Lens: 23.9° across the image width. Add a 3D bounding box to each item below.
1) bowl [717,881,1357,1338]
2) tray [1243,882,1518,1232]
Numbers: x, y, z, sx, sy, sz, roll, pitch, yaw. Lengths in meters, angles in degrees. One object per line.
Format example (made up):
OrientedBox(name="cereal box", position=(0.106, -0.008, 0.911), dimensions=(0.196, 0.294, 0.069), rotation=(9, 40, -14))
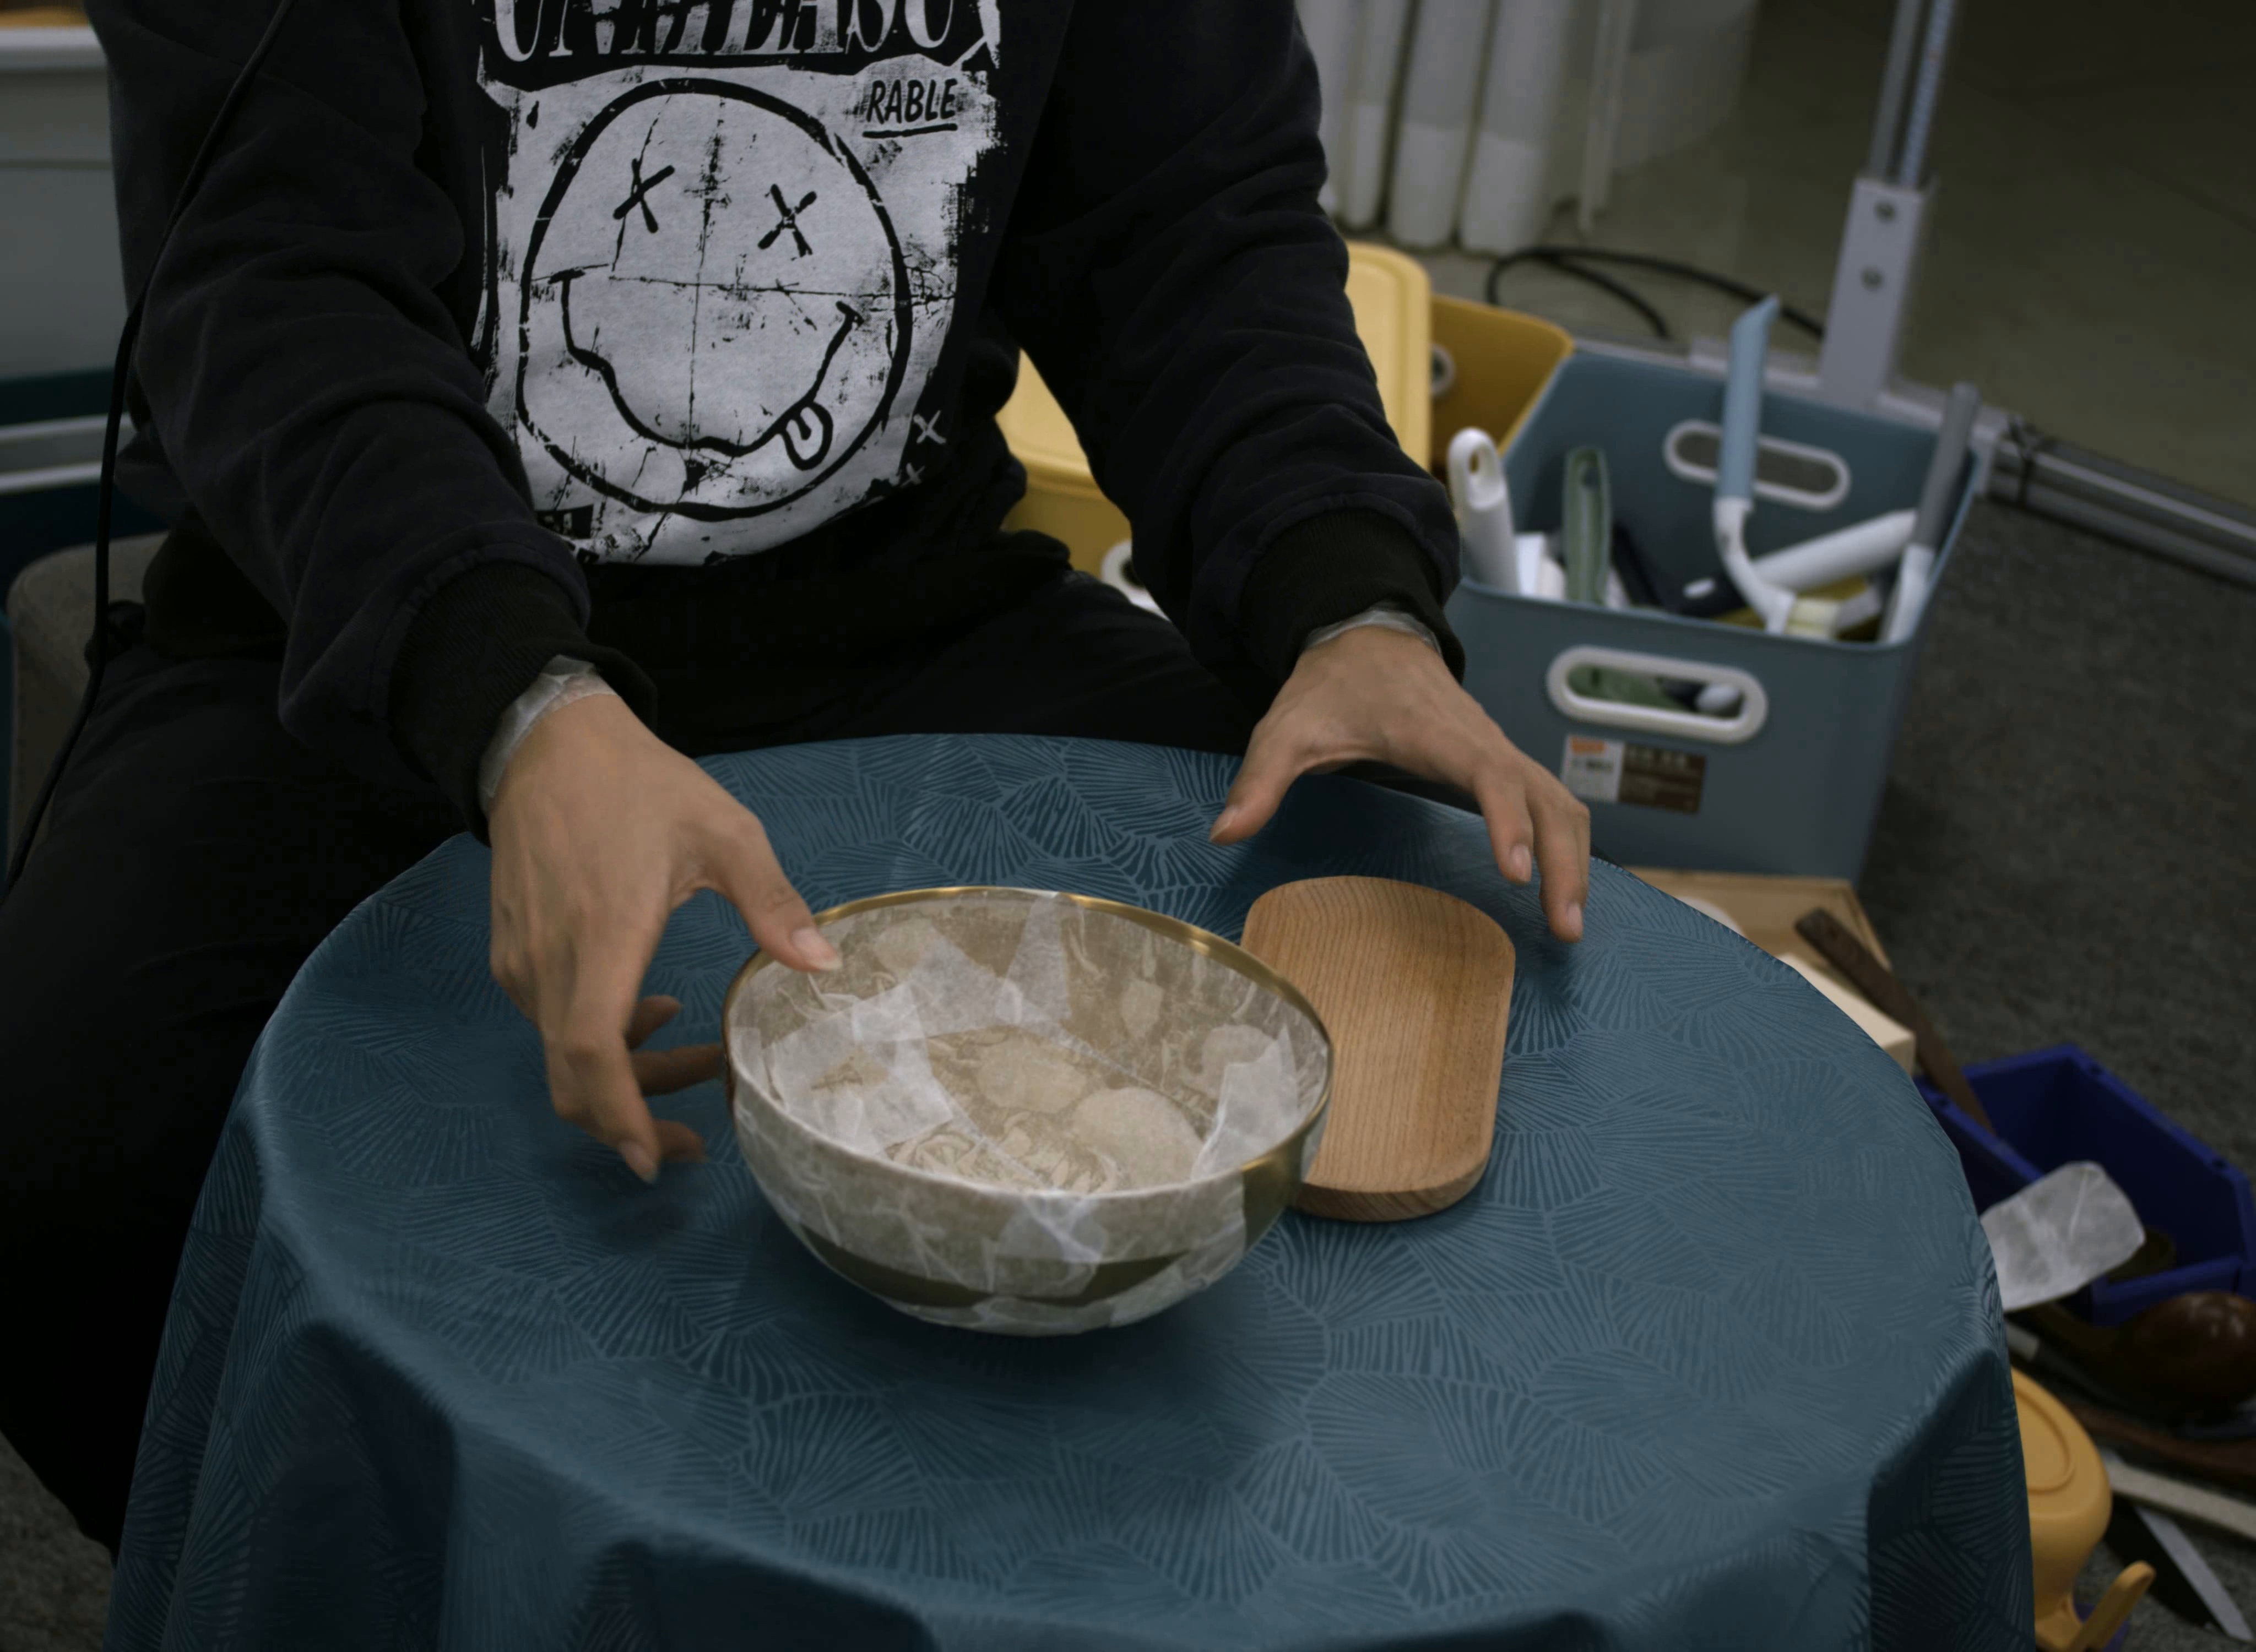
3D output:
OrientedBox(name="bowl", position=(-0.033, 0.104, 1.730), dimensions=(0.214, 0.094, 0.216), rotation=(4, 26, -2))
OrientedBox(name="tray", position=(0.085, 0.080, 1.890), dimensions=(0.101, 0.020, 0.232), rotation=(6, 28, 4))
